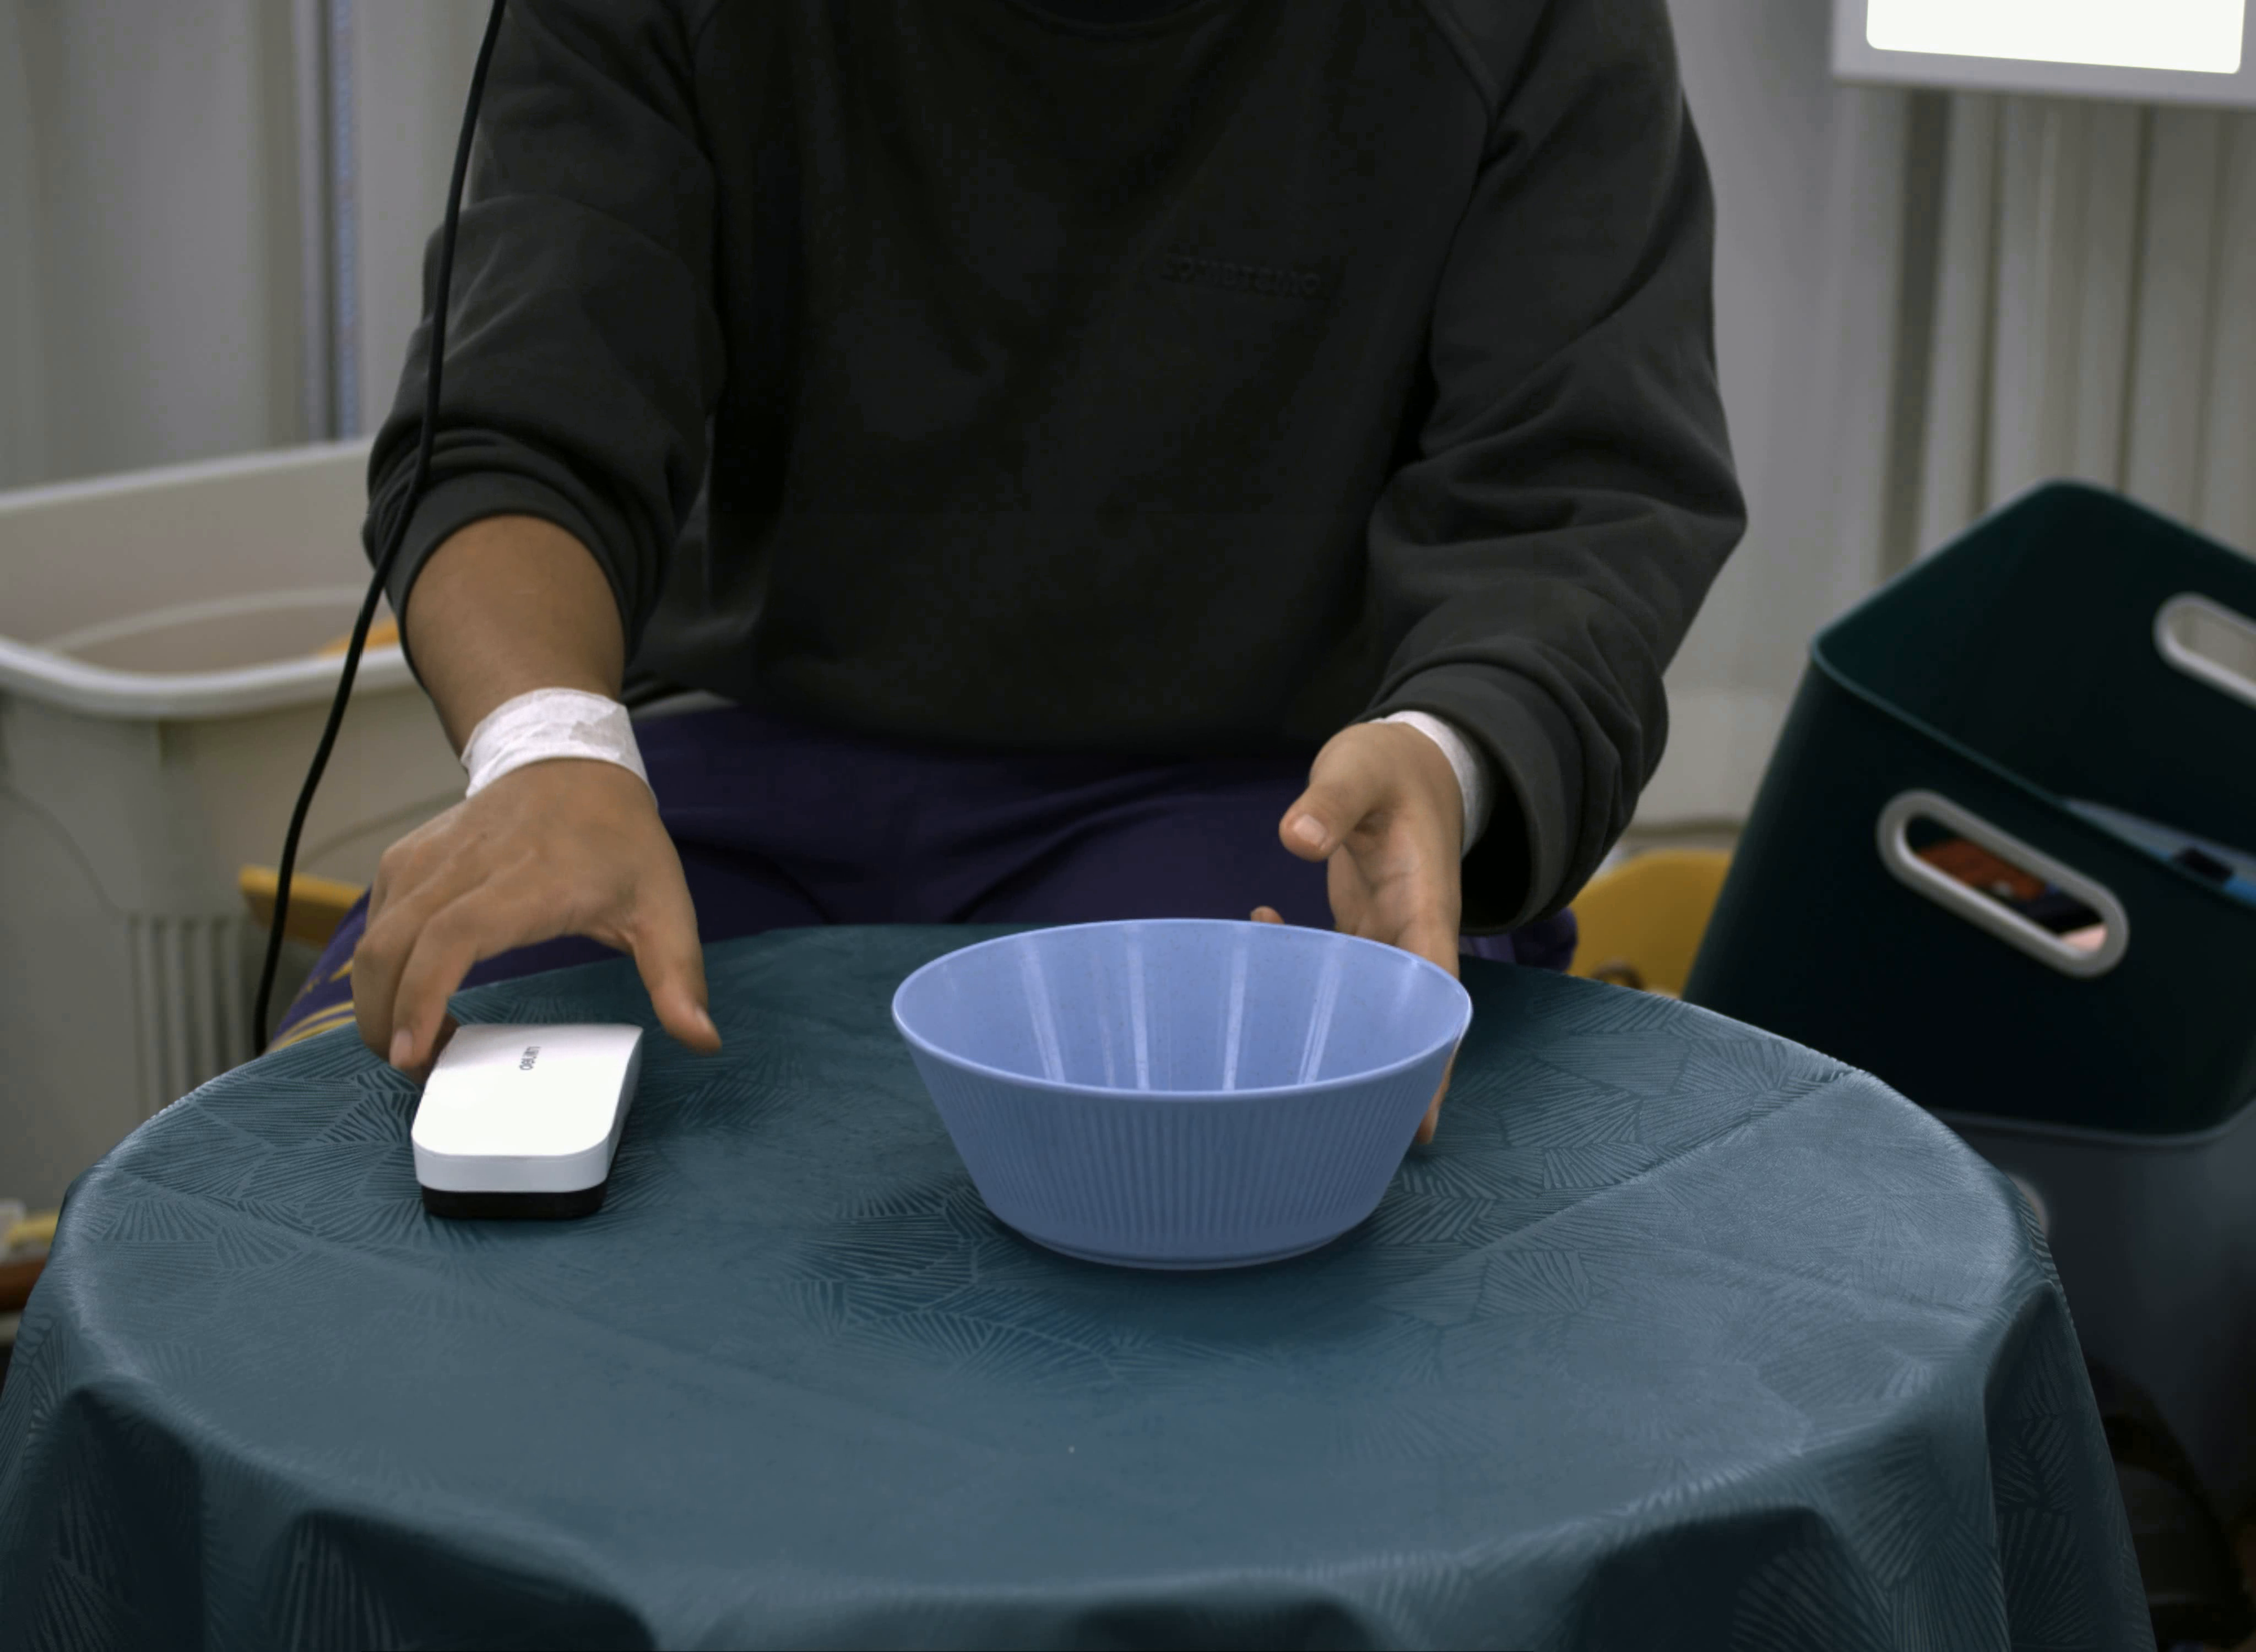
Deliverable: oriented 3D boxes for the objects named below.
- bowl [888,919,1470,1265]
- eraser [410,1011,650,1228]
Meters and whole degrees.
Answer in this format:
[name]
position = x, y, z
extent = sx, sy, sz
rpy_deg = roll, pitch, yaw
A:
[bowl]
position = 0.015, 0.083, 1.596
extent = 0.175, 0.071, 0.175
rpy_deg = 1, 16, 0
[eraser]
position = -0.185, 0.087, 1.646
extent = 0.063, 0.035, 0.130
rpy_deg = 3, 18, 2
